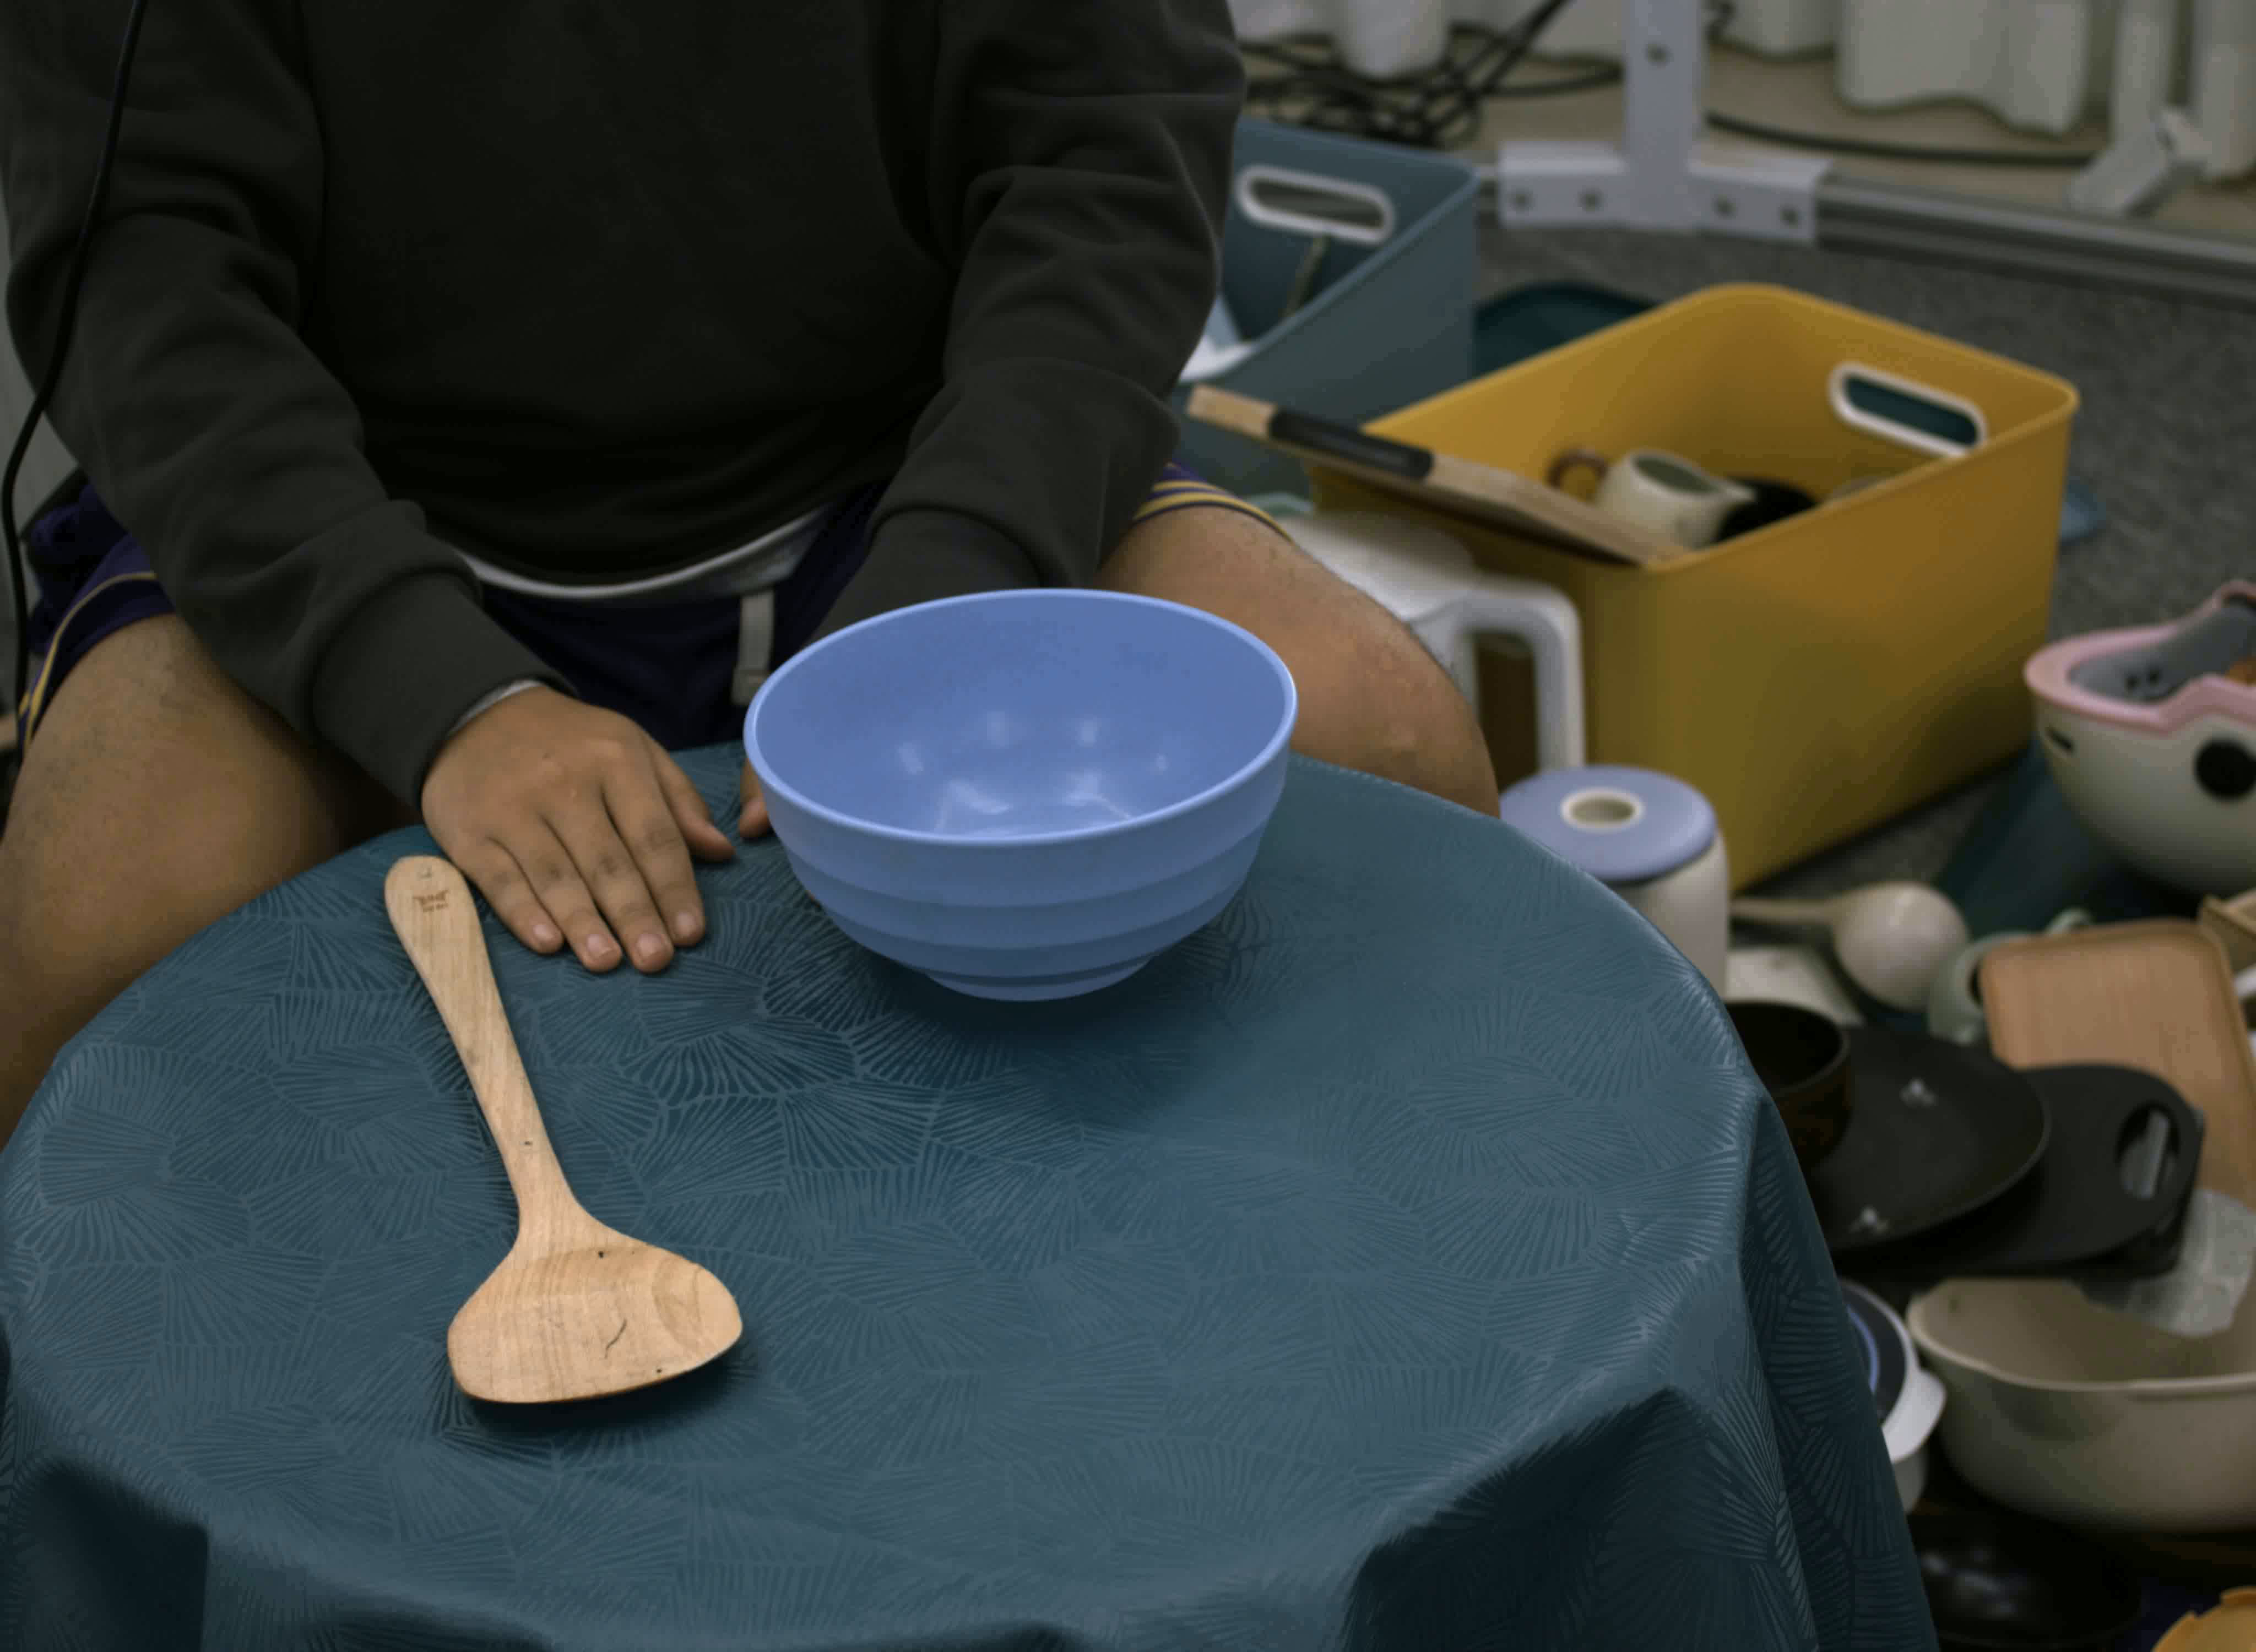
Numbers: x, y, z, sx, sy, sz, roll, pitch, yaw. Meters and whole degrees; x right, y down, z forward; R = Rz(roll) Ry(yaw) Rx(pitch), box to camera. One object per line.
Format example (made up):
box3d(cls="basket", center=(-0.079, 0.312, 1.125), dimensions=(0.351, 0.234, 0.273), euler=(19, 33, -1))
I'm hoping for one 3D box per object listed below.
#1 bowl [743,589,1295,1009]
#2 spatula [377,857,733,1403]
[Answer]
box3d(cls="bowl", center=(-0.035, 0.001, 2.001), dimensions=(0.195, 0.094, 0.199), euler=(-4, 29, 3))
box3d(cls="spatula", center=(-0.217, 0.097, 1.912), dimensions=(0.096, 0.018, 0.394), euler=(-8, 28, -14))
